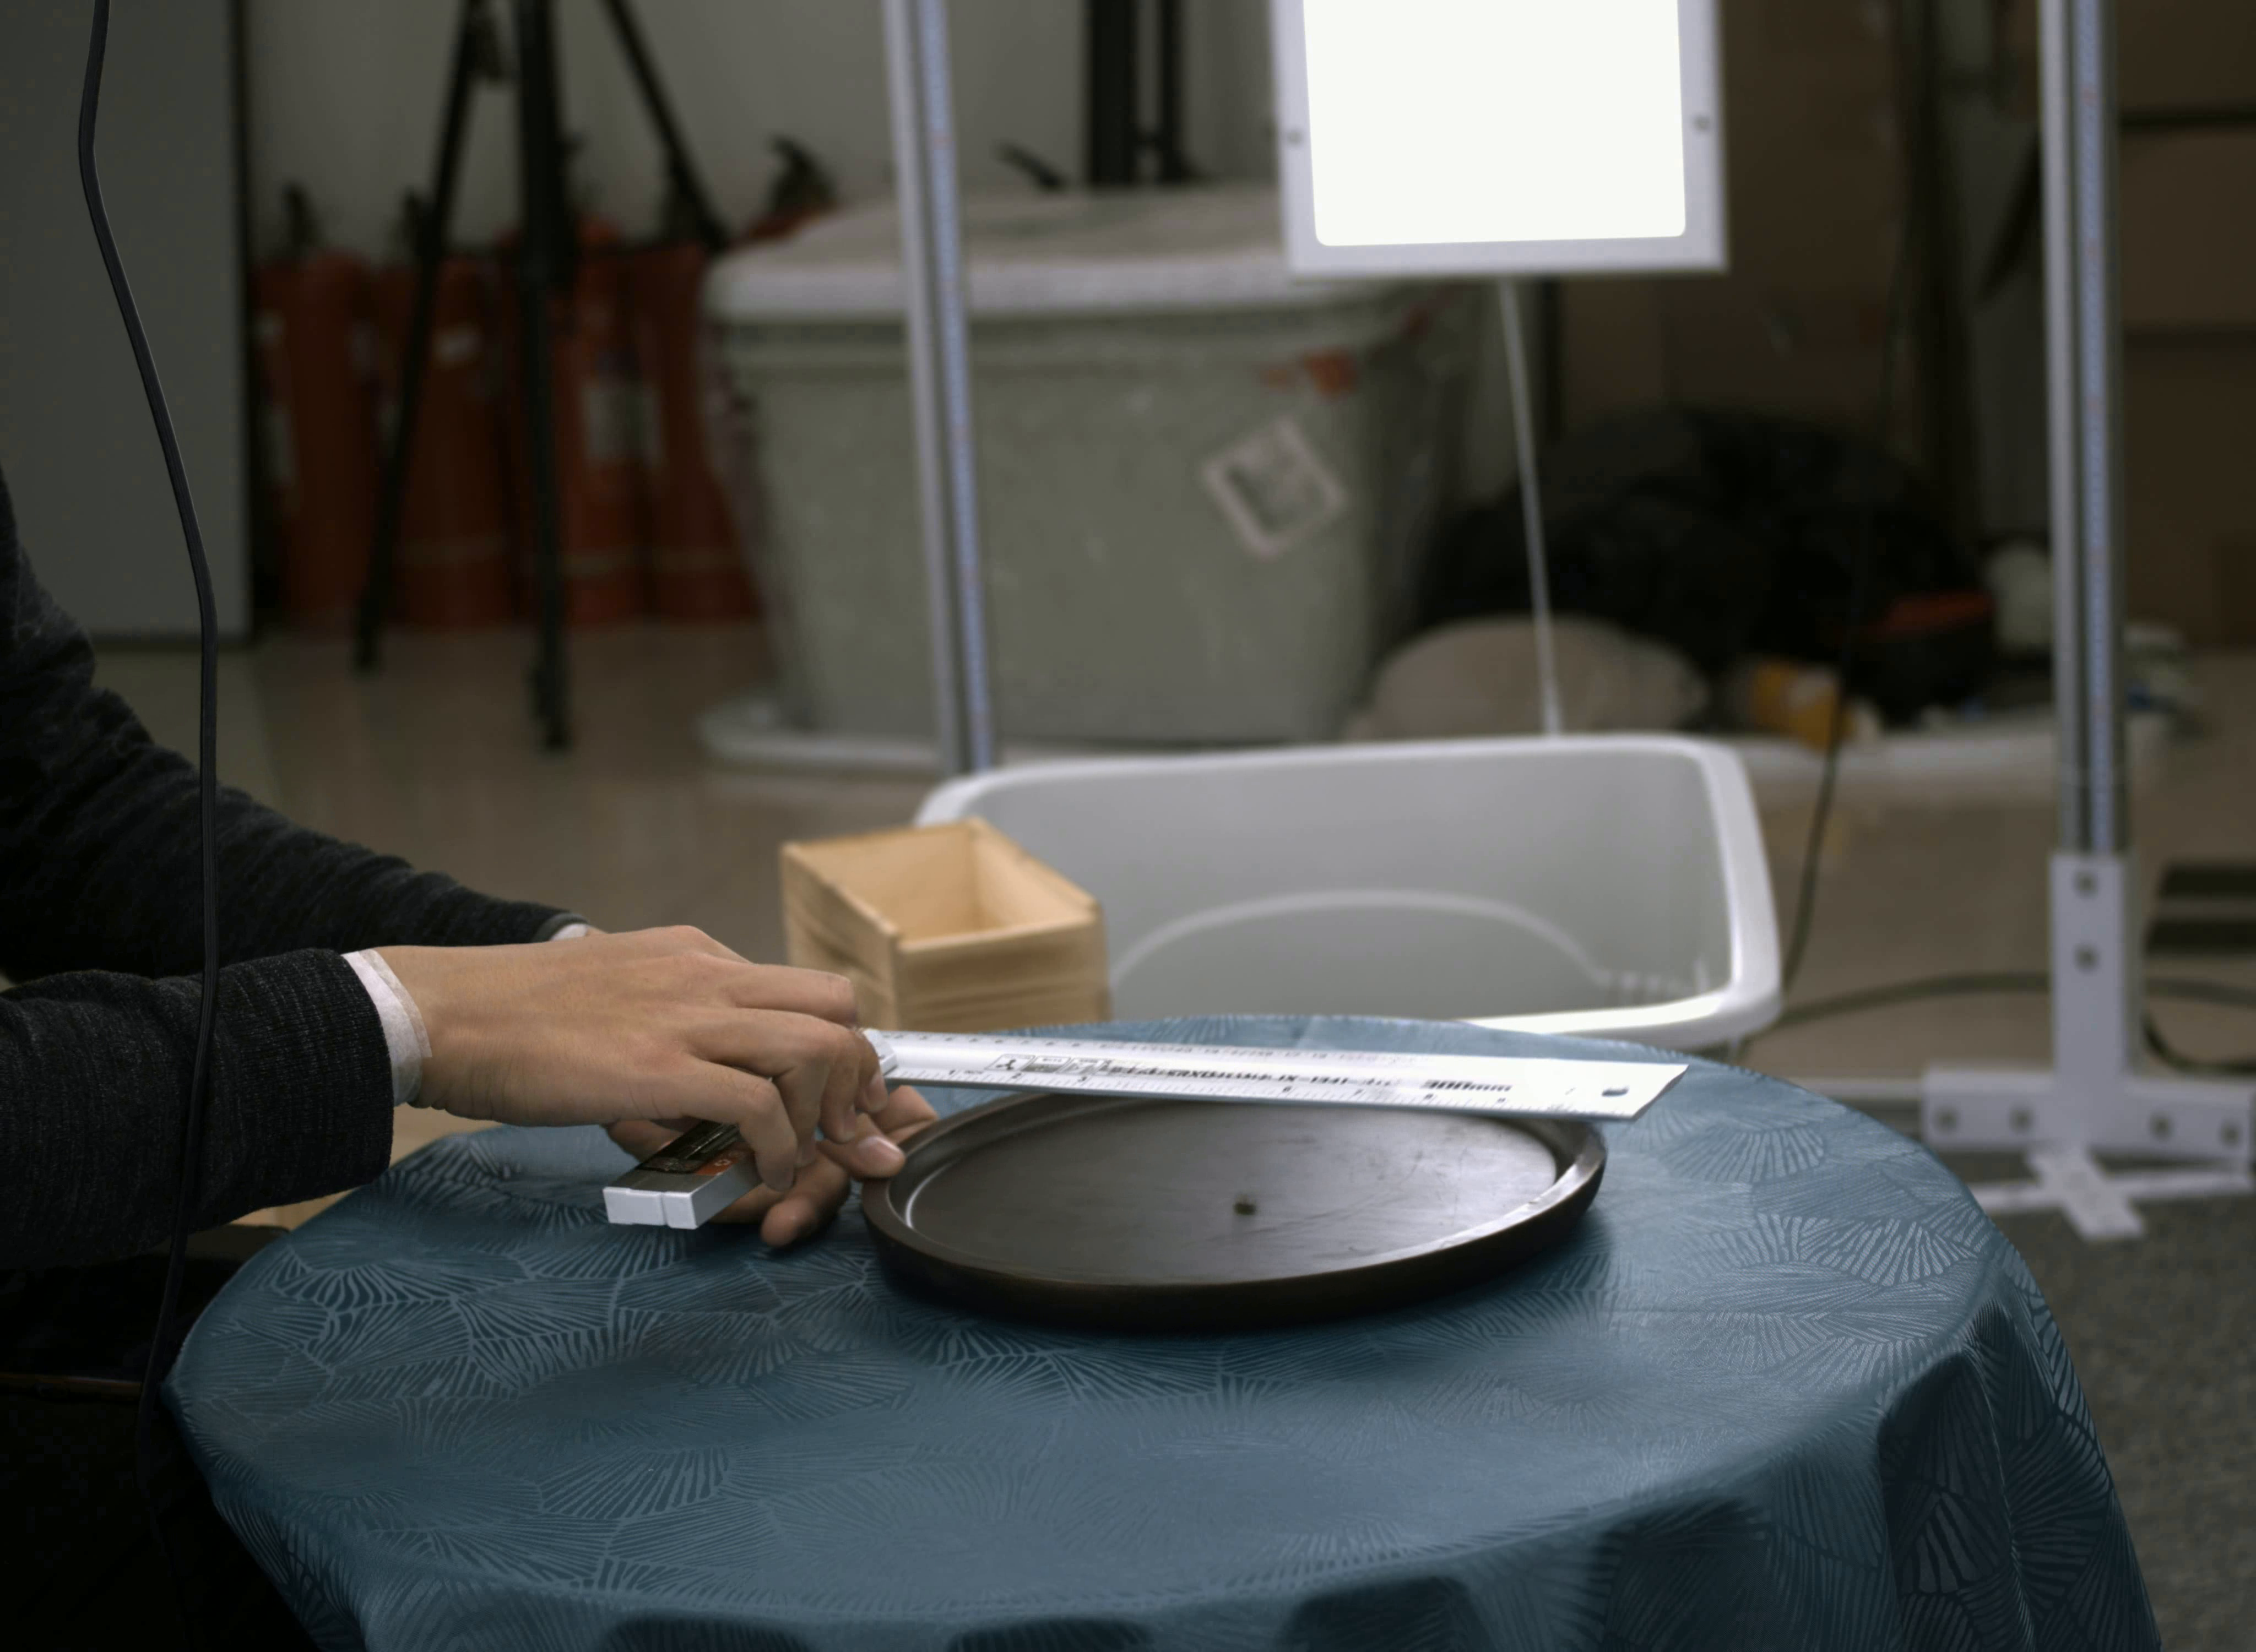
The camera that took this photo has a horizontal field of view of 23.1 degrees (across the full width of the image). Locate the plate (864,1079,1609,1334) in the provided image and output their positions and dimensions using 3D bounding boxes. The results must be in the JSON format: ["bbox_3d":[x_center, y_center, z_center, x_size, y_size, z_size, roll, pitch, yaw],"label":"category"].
[{"bbox_3d":[0.037,0.122,1.854,0.254,0.029,0.254,-4,14,0],"label":"plate"}]

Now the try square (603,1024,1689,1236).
[{"bbox_3d":[0.003,0.096,1.706,0.319,0.016,0.149,0,22,33],"label":"try square"}]
